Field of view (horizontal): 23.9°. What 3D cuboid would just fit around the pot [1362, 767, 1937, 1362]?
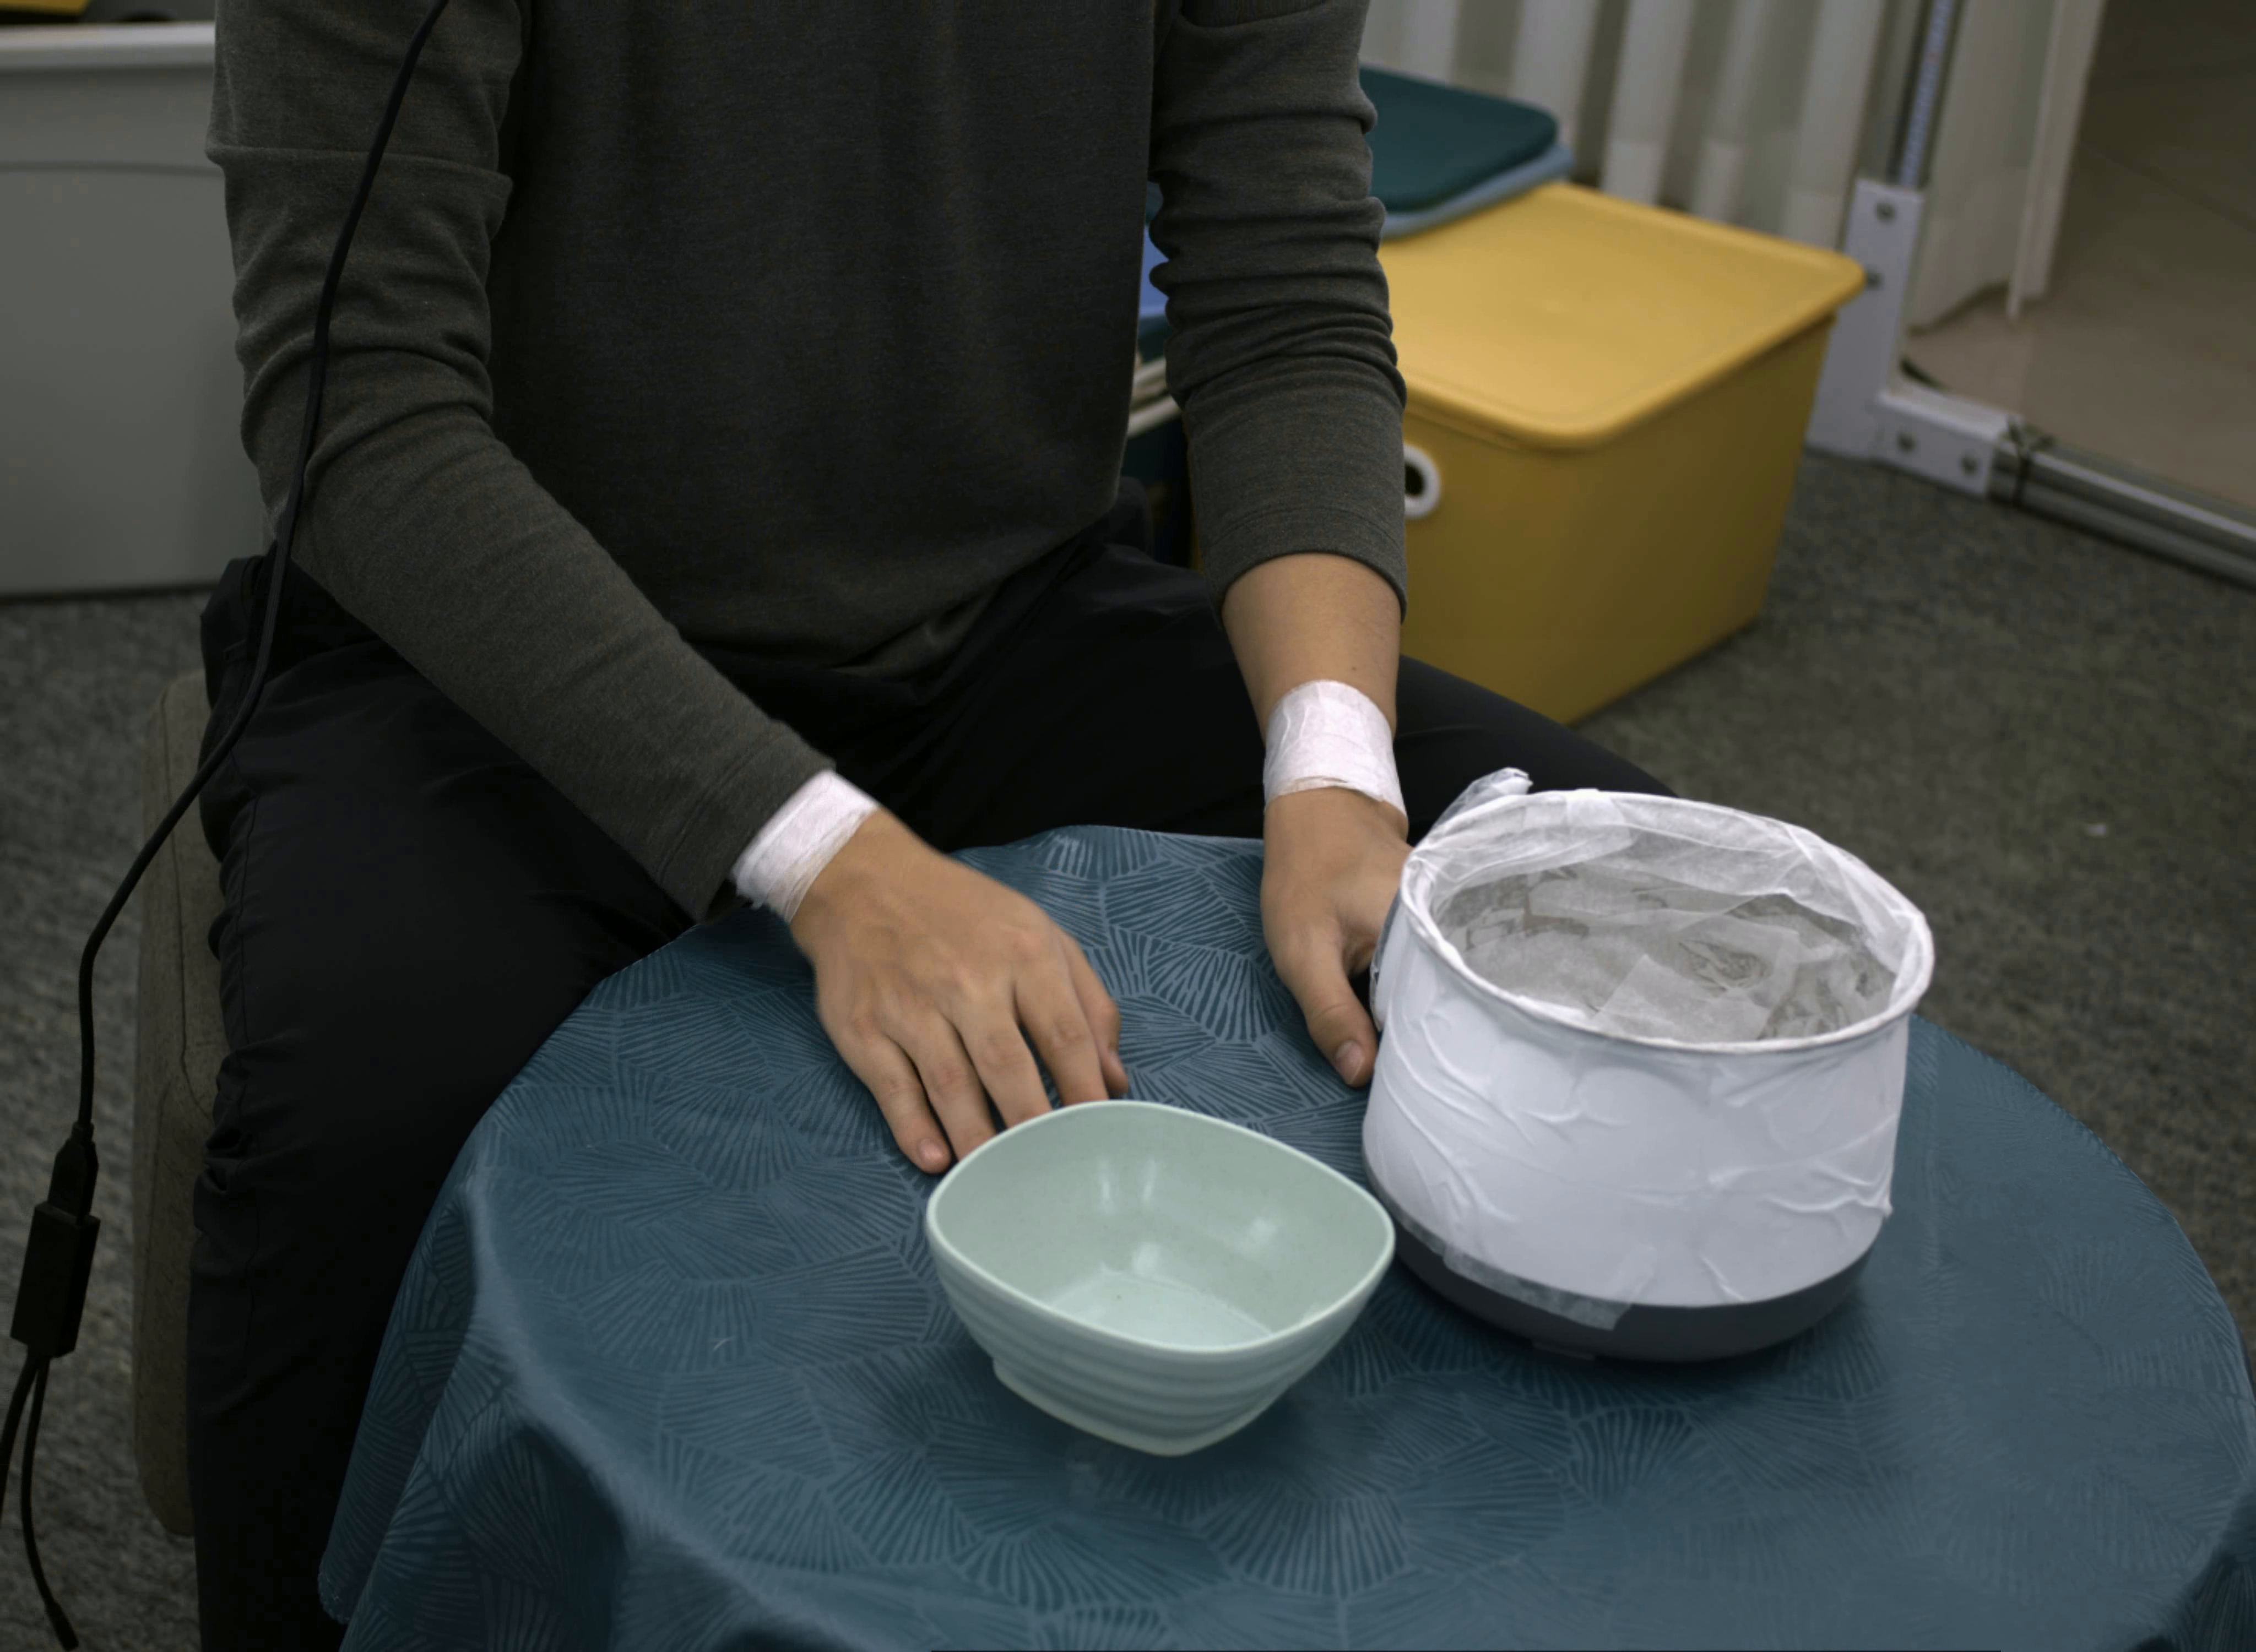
[{"bbox_3d":[0.156,0.073,1.791,0.177,0.136,0.236,-8,30,-28],"label":"pot"}]

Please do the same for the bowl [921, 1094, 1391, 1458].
[{"bbox_3d":[0.006,0.150,1.694,0.151,0.058,0.152,6,28,-4],"label":"bowl"}]
